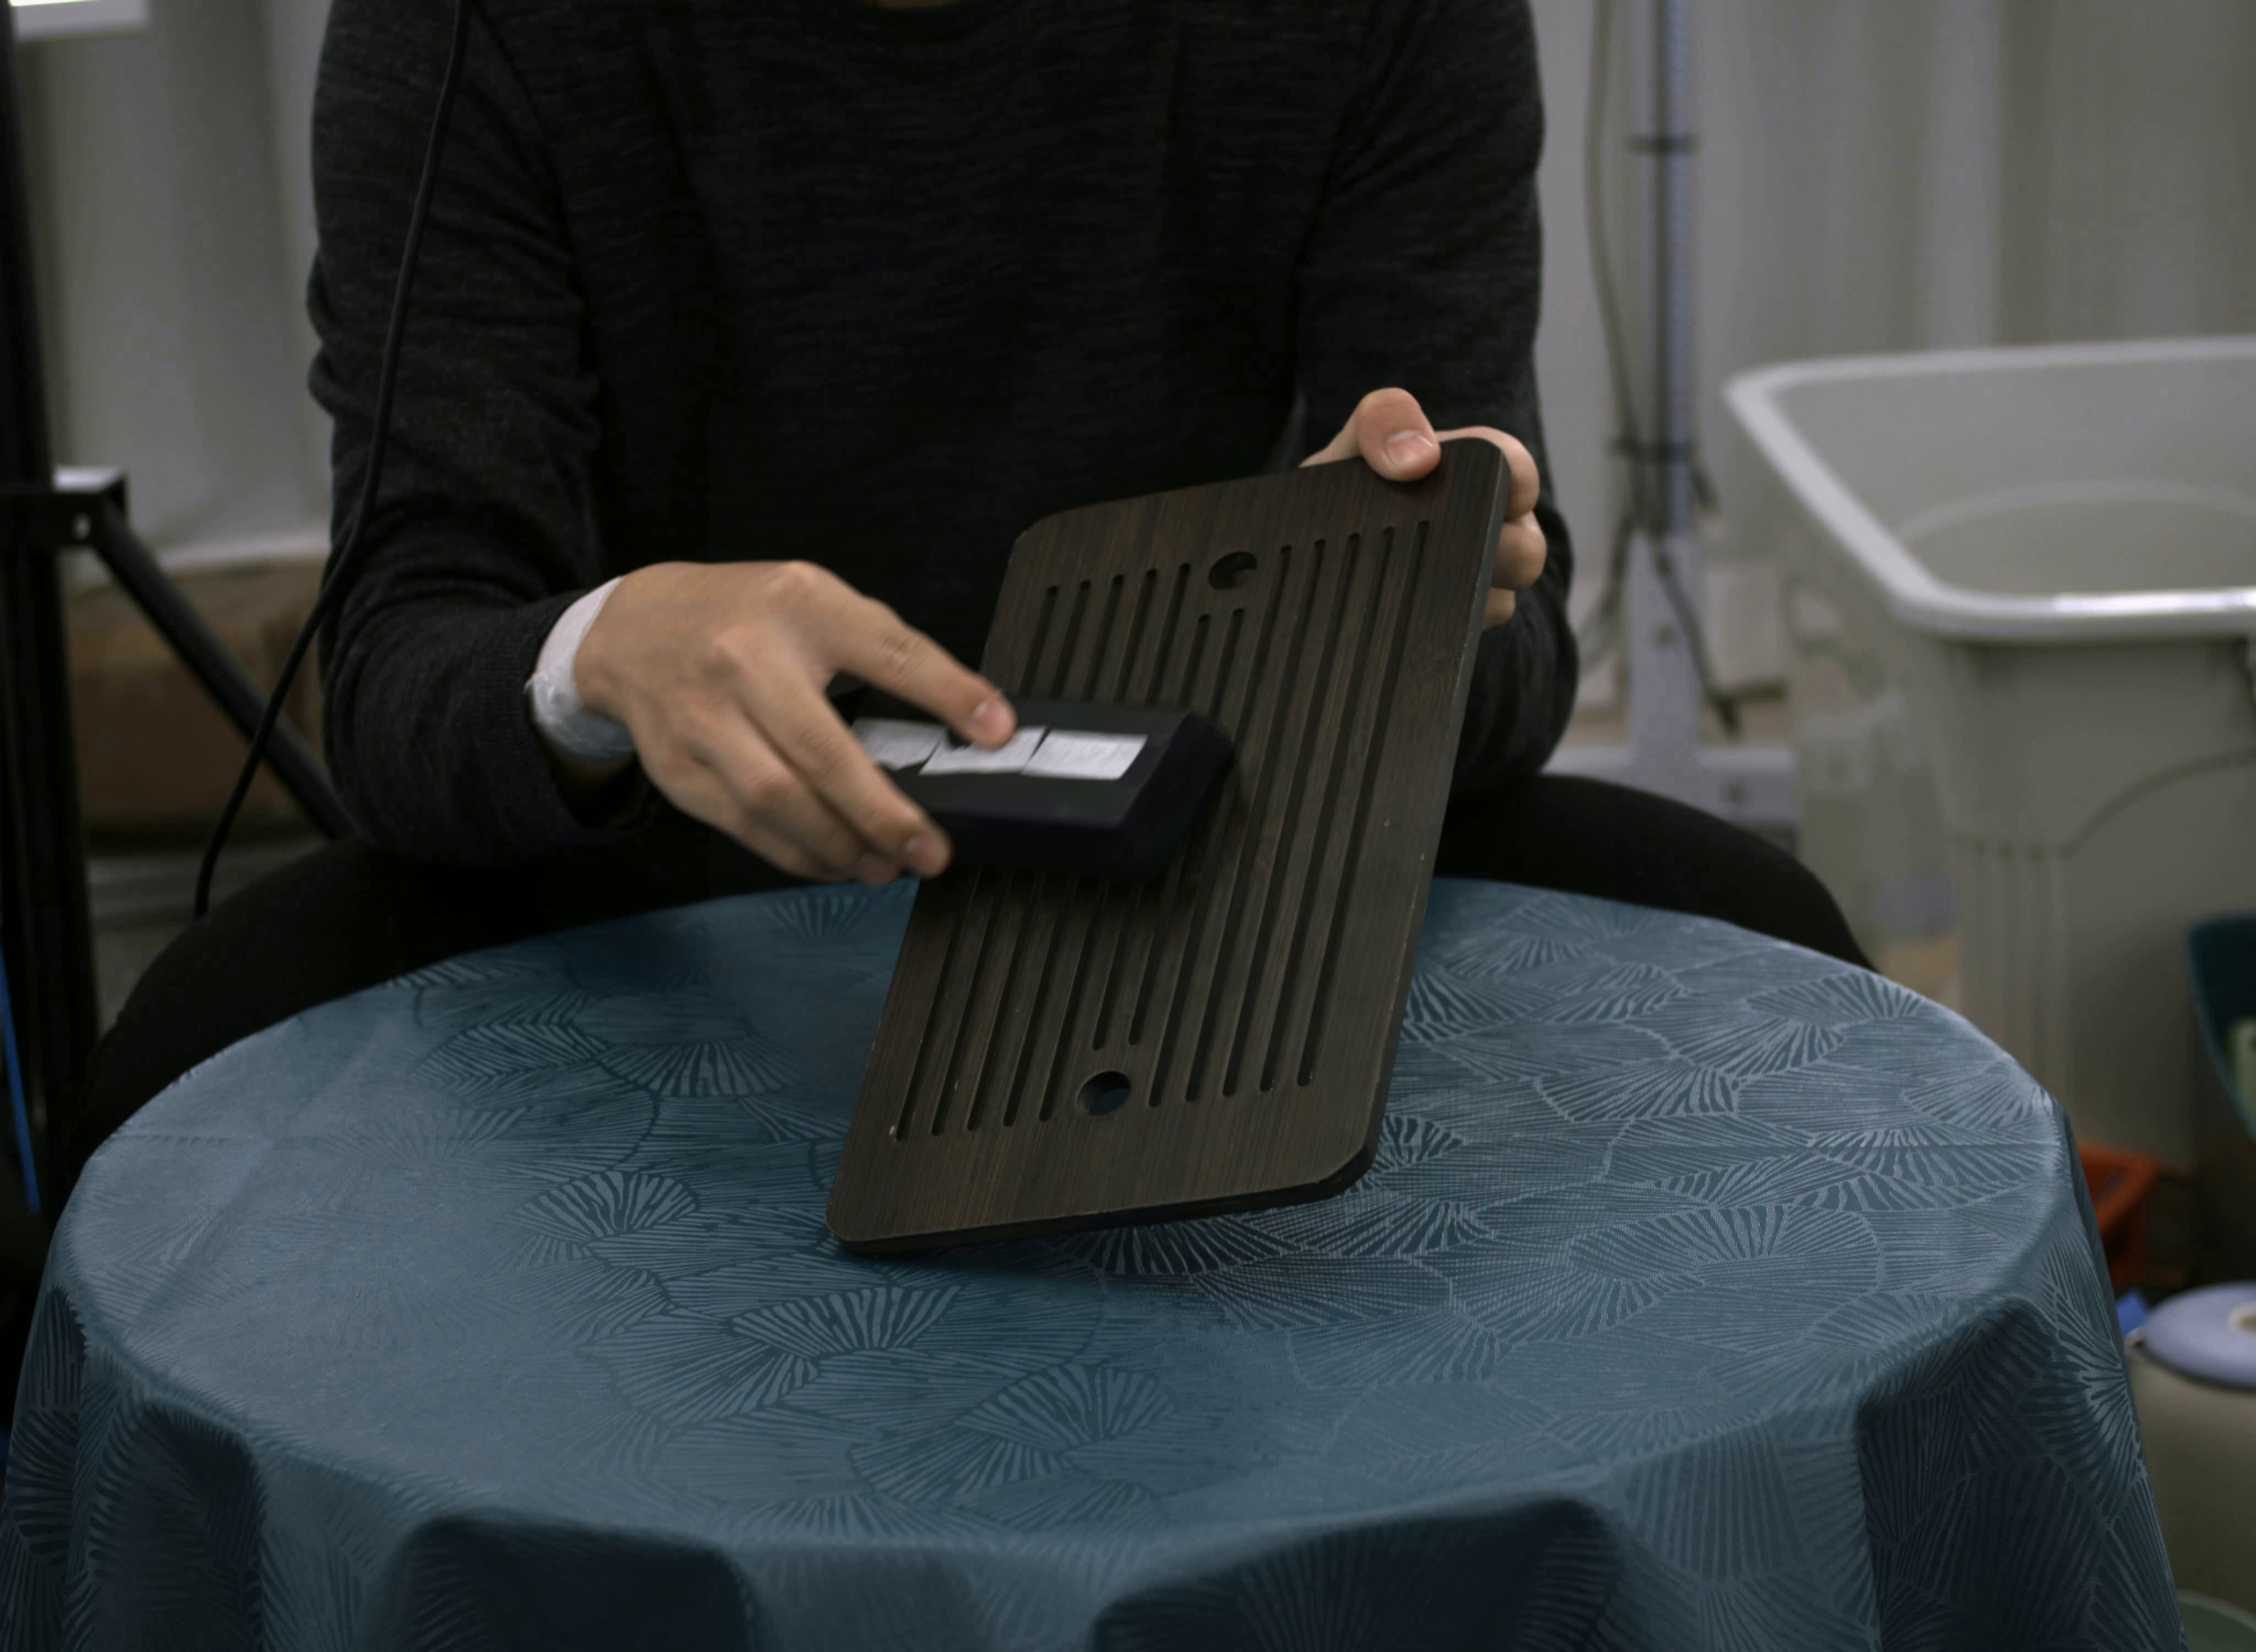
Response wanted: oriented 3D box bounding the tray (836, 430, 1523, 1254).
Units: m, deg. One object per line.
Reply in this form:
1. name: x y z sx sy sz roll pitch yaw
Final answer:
1. tray: 0.021 0.003 1.583 0.172 0.018 0.307 -10 43 25

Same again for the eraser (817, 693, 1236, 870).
1. eraser: -0.030 -0.014 1.603 0.128 0.030 0.053 1 45 37
